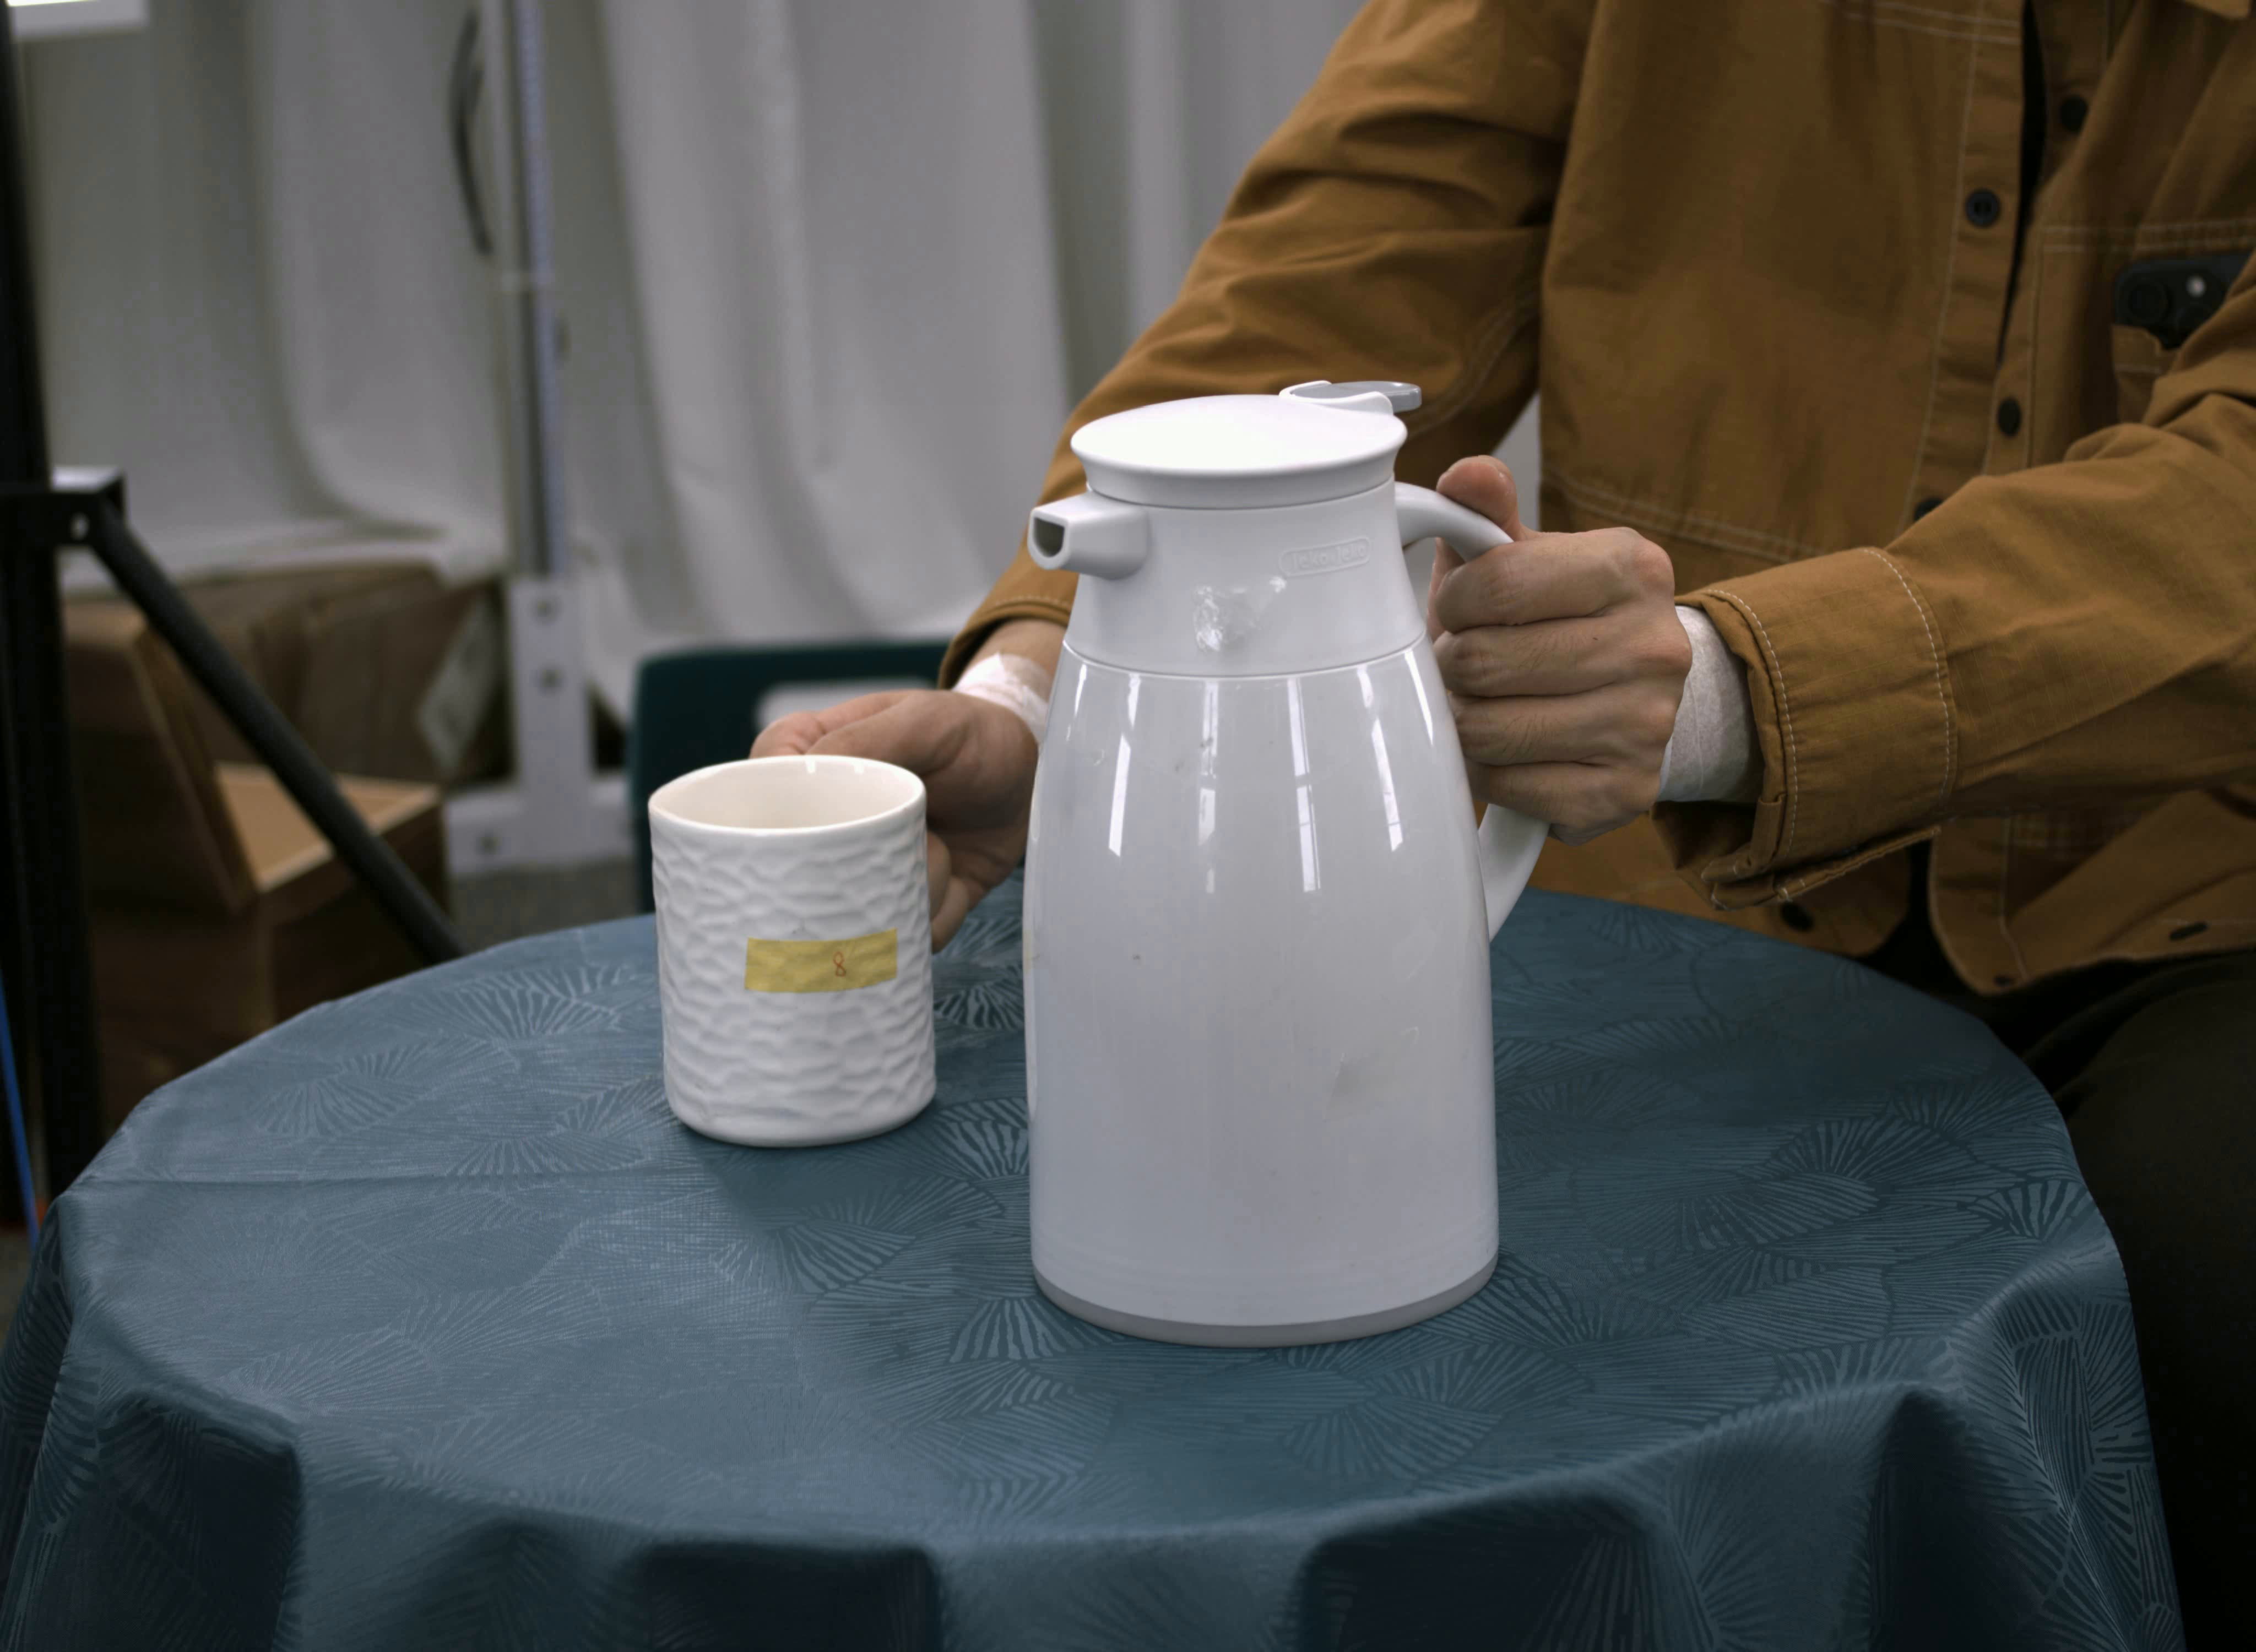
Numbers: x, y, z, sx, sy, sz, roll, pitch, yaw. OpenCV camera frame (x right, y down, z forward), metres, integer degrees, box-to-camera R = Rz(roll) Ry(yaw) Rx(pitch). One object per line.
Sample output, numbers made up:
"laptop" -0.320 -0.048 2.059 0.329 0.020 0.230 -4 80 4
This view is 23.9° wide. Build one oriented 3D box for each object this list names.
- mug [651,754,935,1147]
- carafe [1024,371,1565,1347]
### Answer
"mug" -0.100 0.034 1.647 0.085 0.102 0.118 0 15 5
"carafe" 0.050 0.001 1.471 0.164 0.248 0.135 -11 17 -31
